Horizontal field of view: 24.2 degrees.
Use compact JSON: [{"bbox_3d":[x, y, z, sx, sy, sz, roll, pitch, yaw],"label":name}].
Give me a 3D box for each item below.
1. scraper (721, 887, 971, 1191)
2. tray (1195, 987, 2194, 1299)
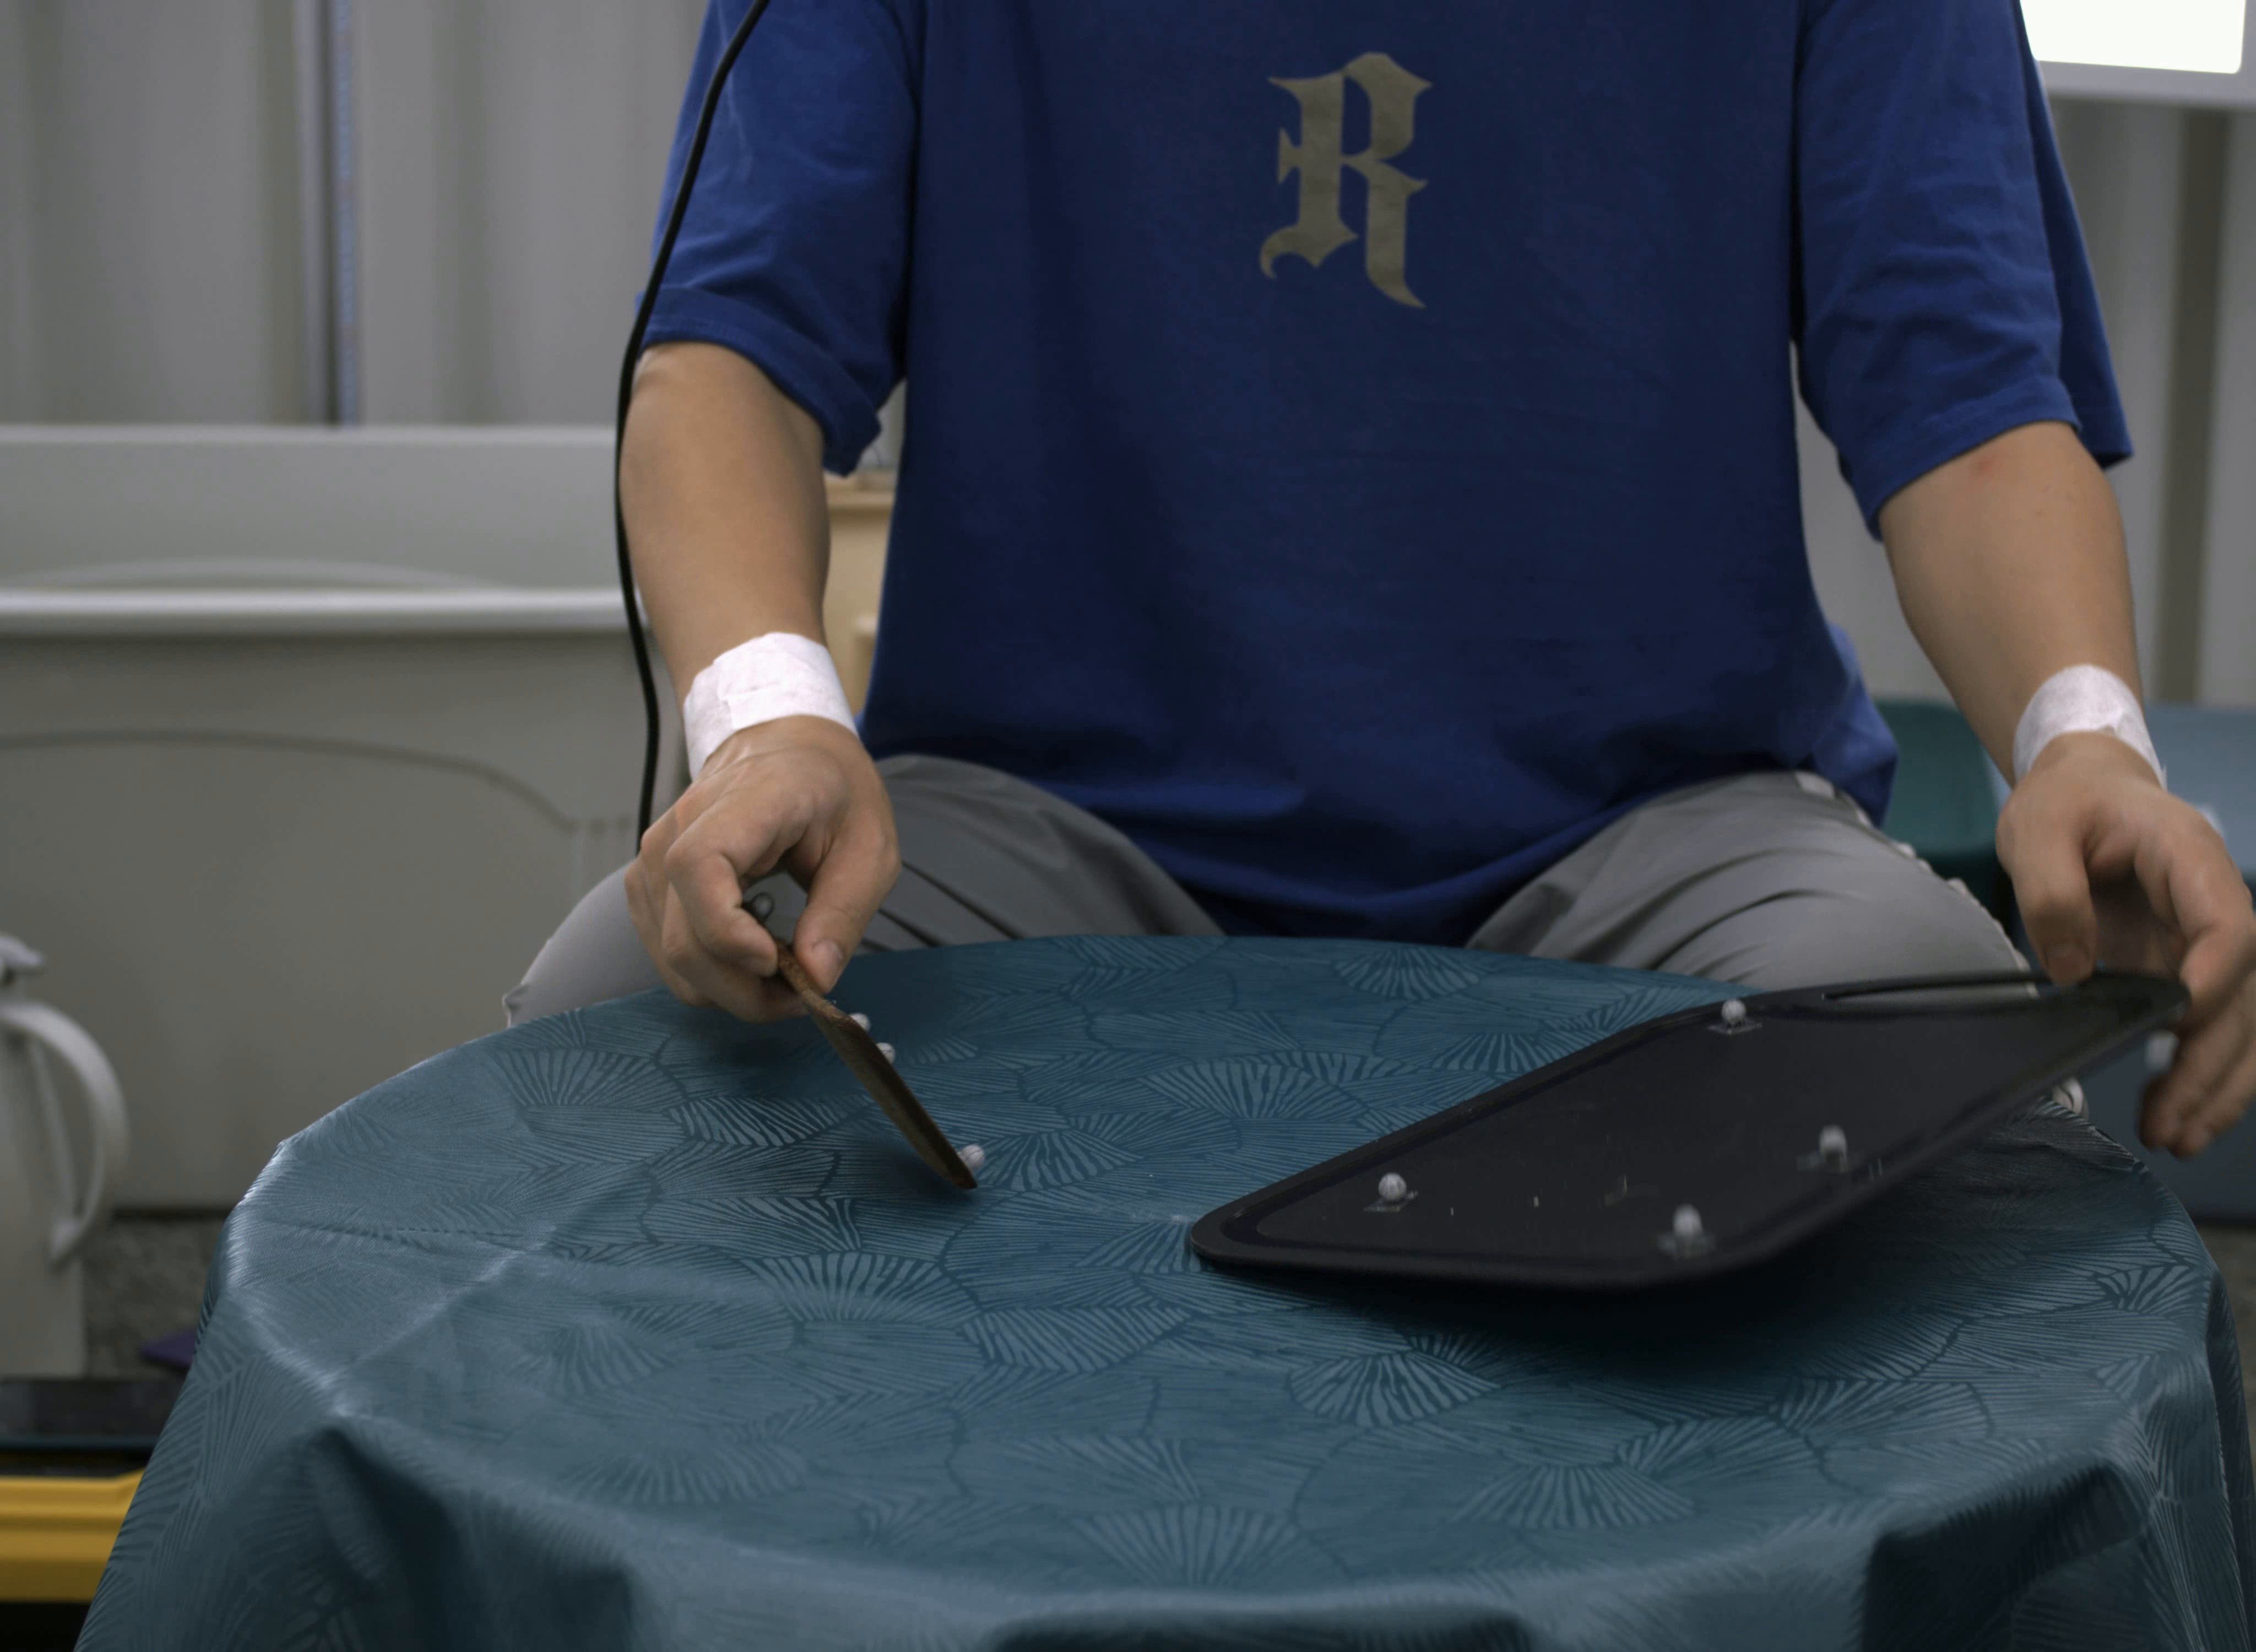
[{"bbox_3d":[-0.099,0.059,1.684,0.011,0.077,0.209,-37,24,-5],"label":"scraper"},{"bbox_3d":[0.182,0.090,1.624,0.208,0.010,0.327,1,14,41],"label":"tray"}]
